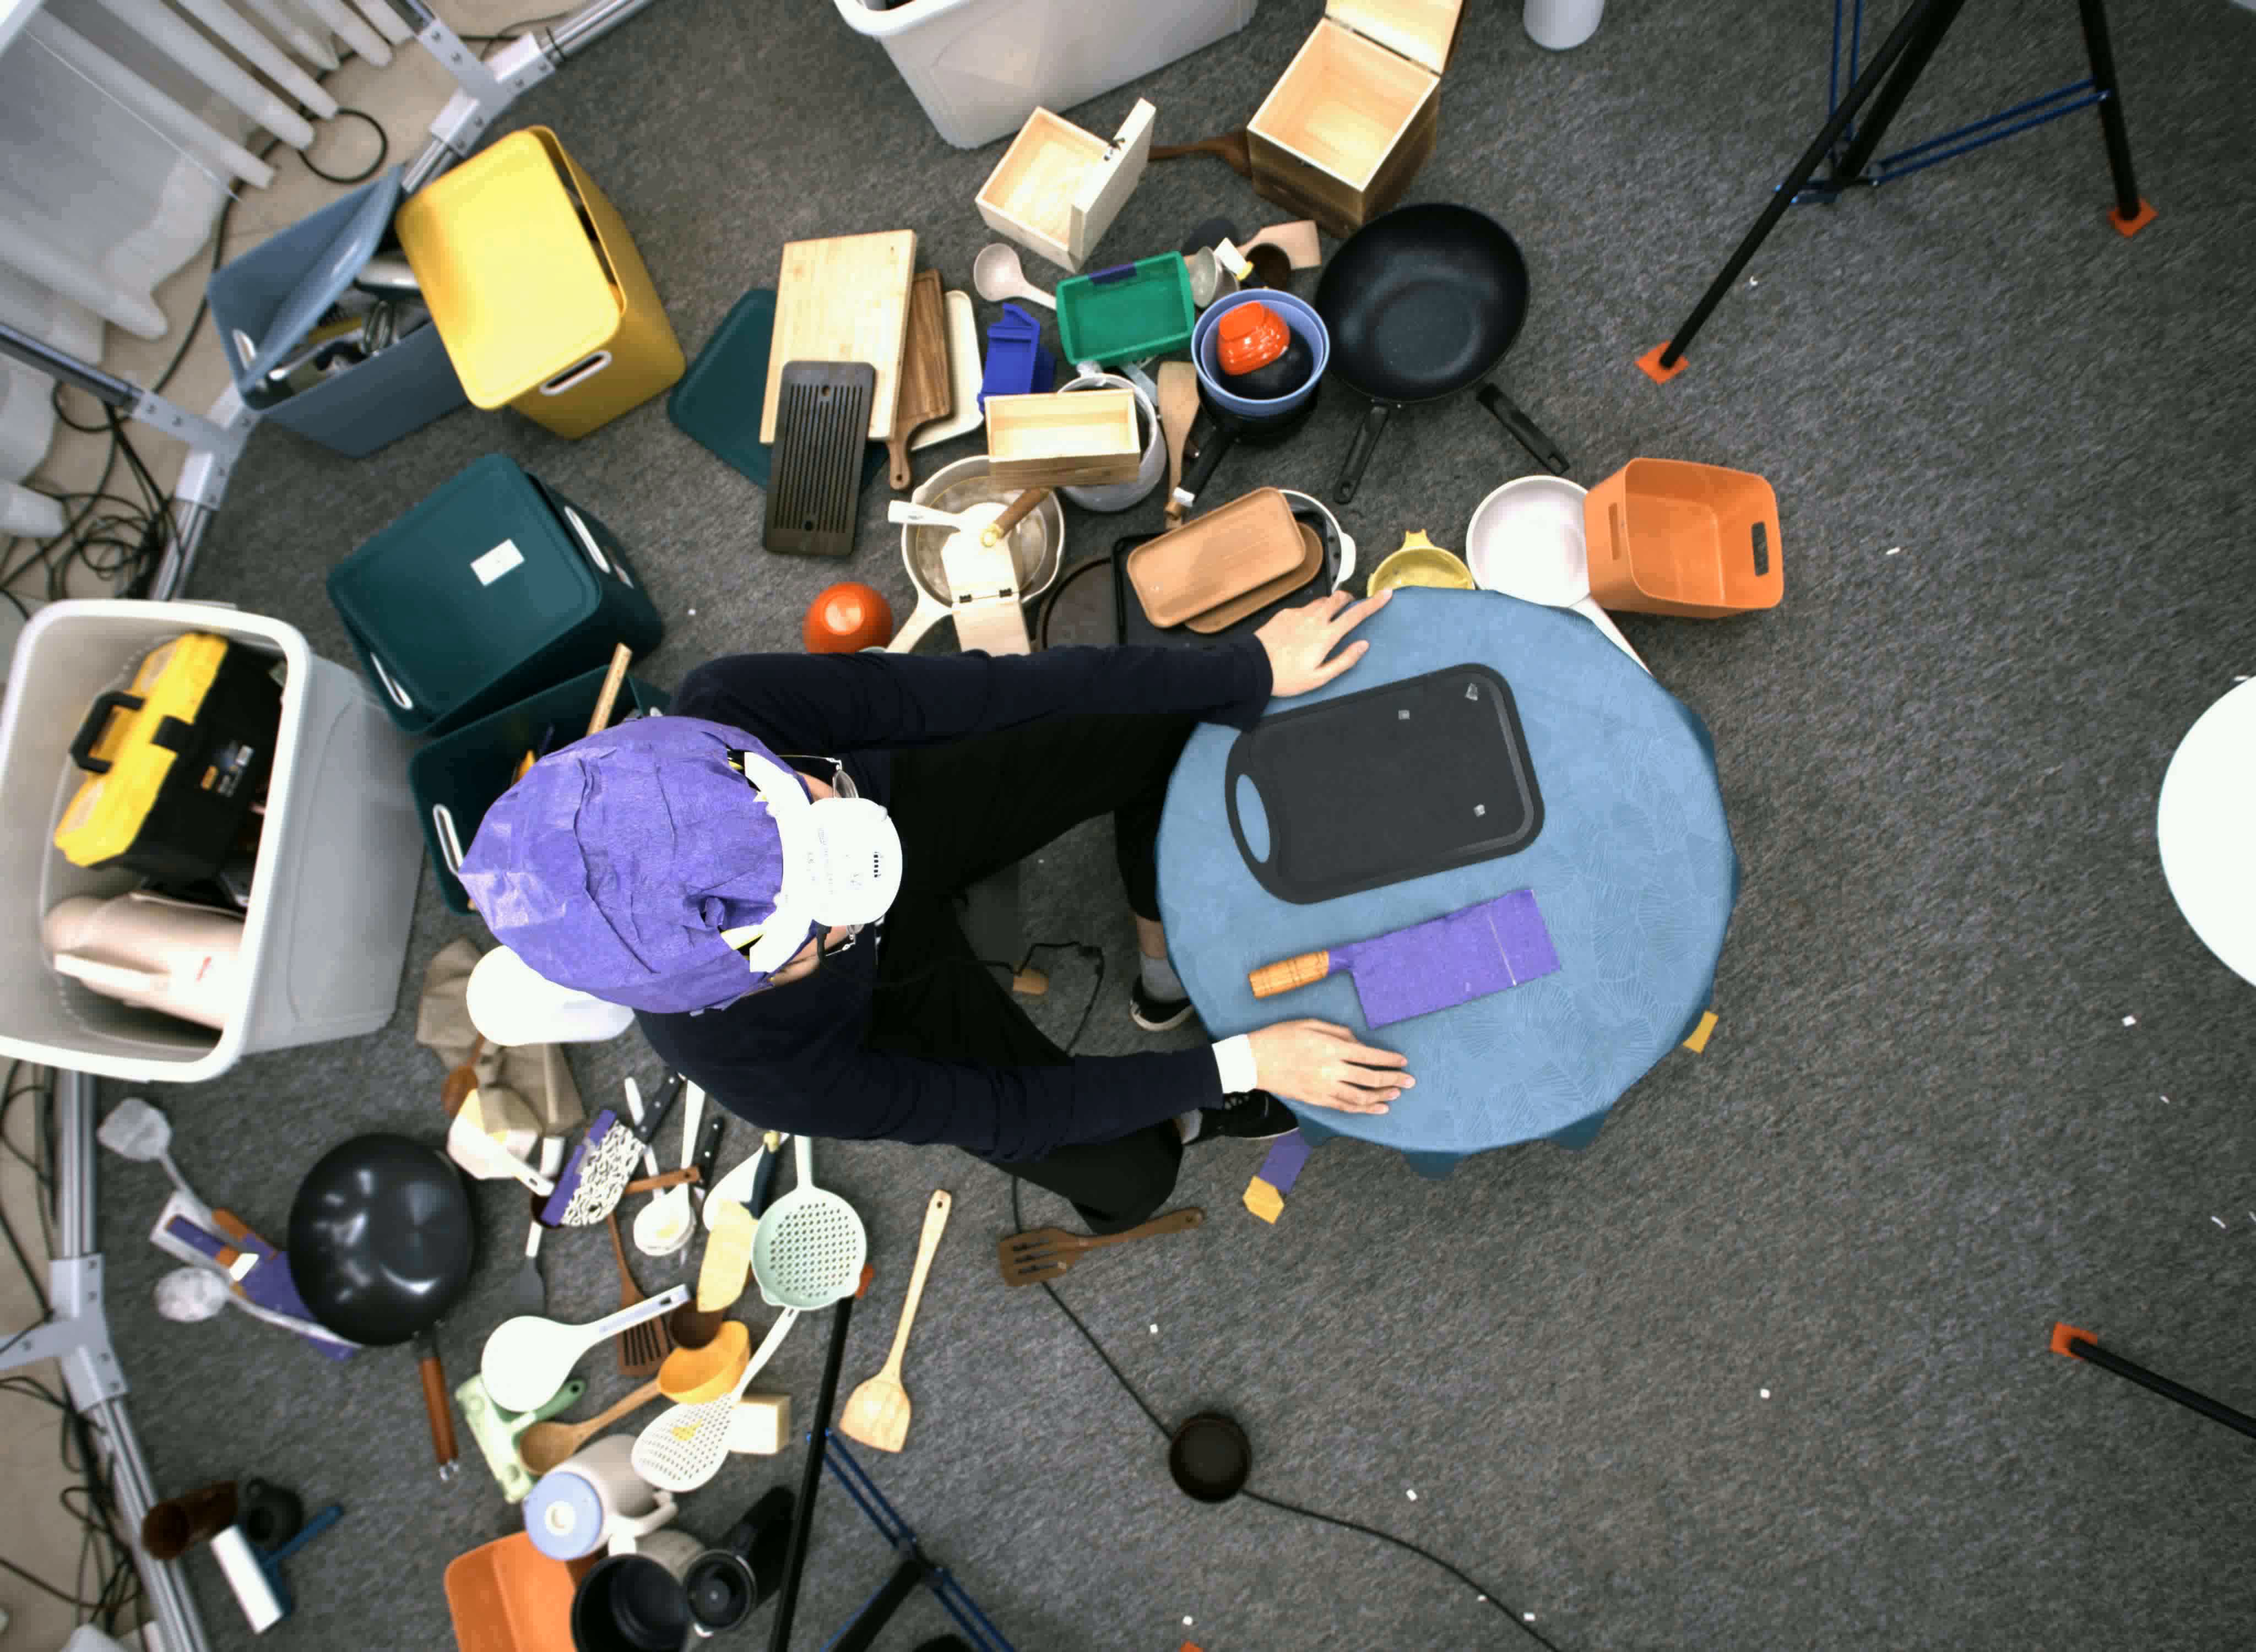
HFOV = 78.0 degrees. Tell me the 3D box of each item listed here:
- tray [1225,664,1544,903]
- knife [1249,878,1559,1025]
[{"bbox_3d":[0.265,-0.044,1.464,0.327,0.010,0.210,-14,84,10],"label":"tray"},{"bbox_3d":[0.288,0.149,1.439,0.317,0.032,0.103,-19,83,9],"label":"knife"}]
